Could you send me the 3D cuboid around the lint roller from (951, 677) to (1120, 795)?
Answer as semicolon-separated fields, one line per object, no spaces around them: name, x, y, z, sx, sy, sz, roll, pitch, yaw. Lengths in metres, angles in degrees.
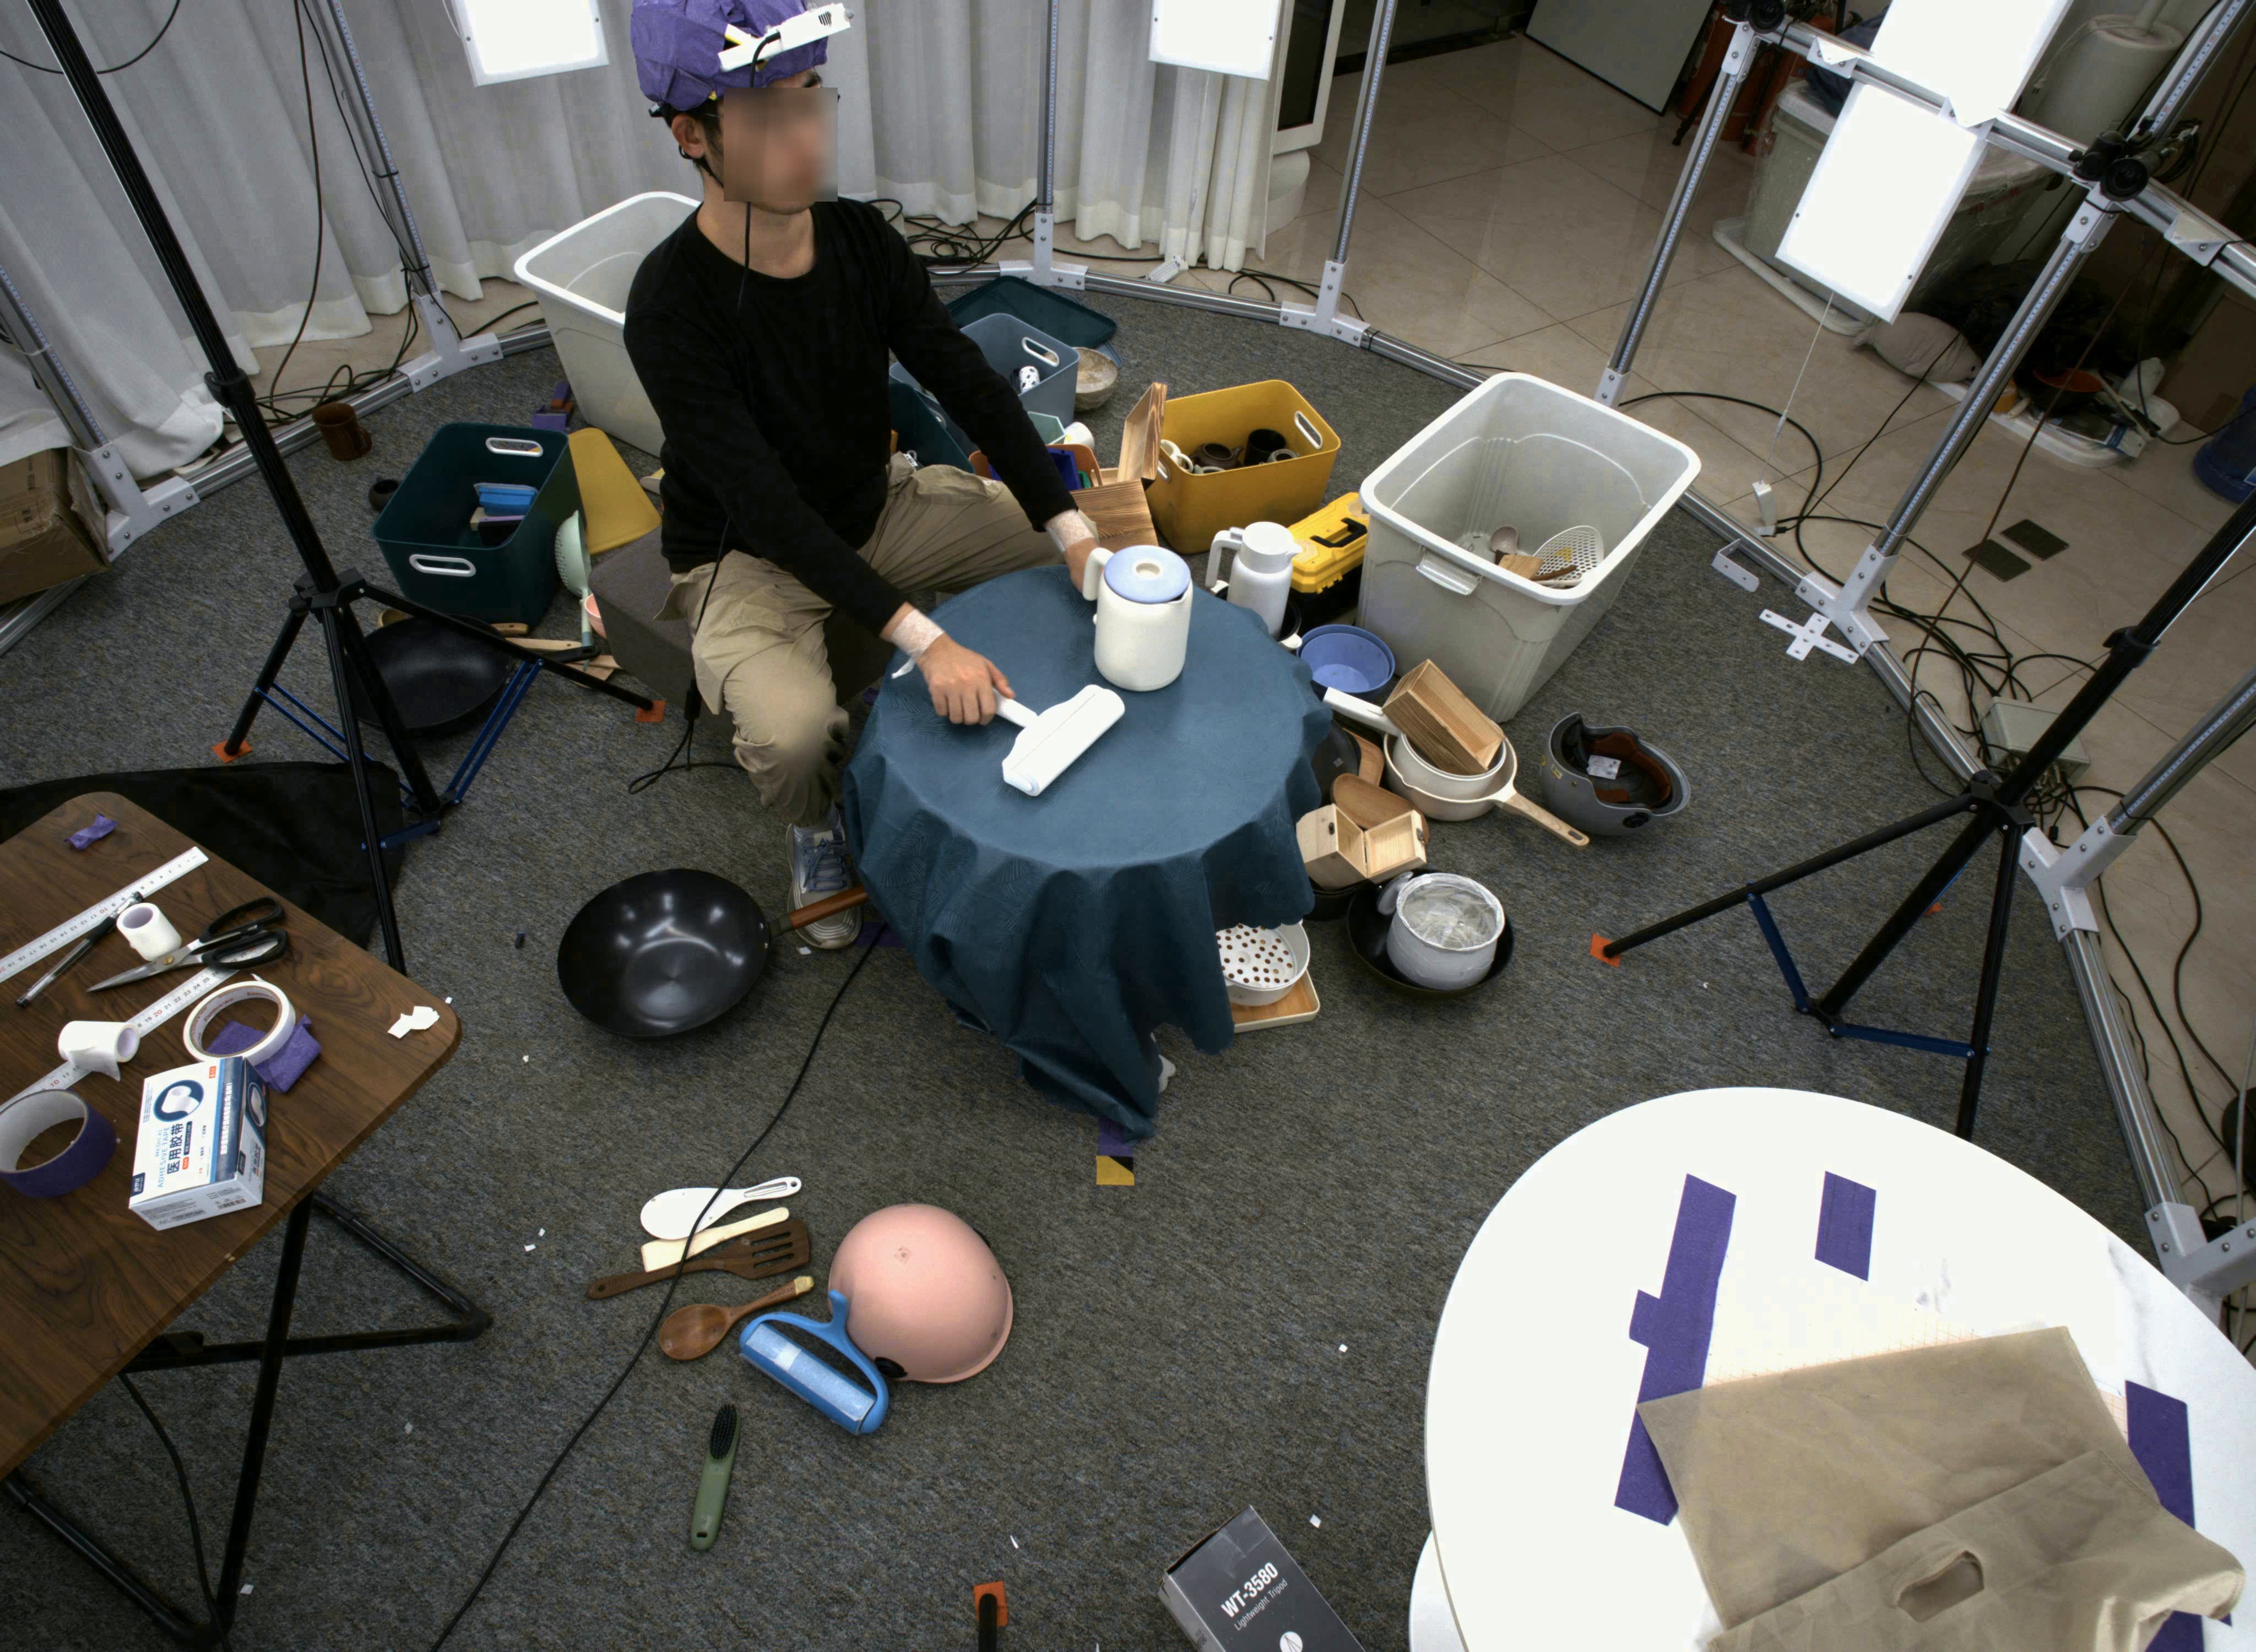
lint roller;-0.154;-0.157;1.768;0.228;0.047;0.205;29;55;21

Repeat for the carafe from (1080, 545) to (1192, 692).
carafe;0.004;-0.306;1.825;0.133;0.178;0.194;-35;58;-30
